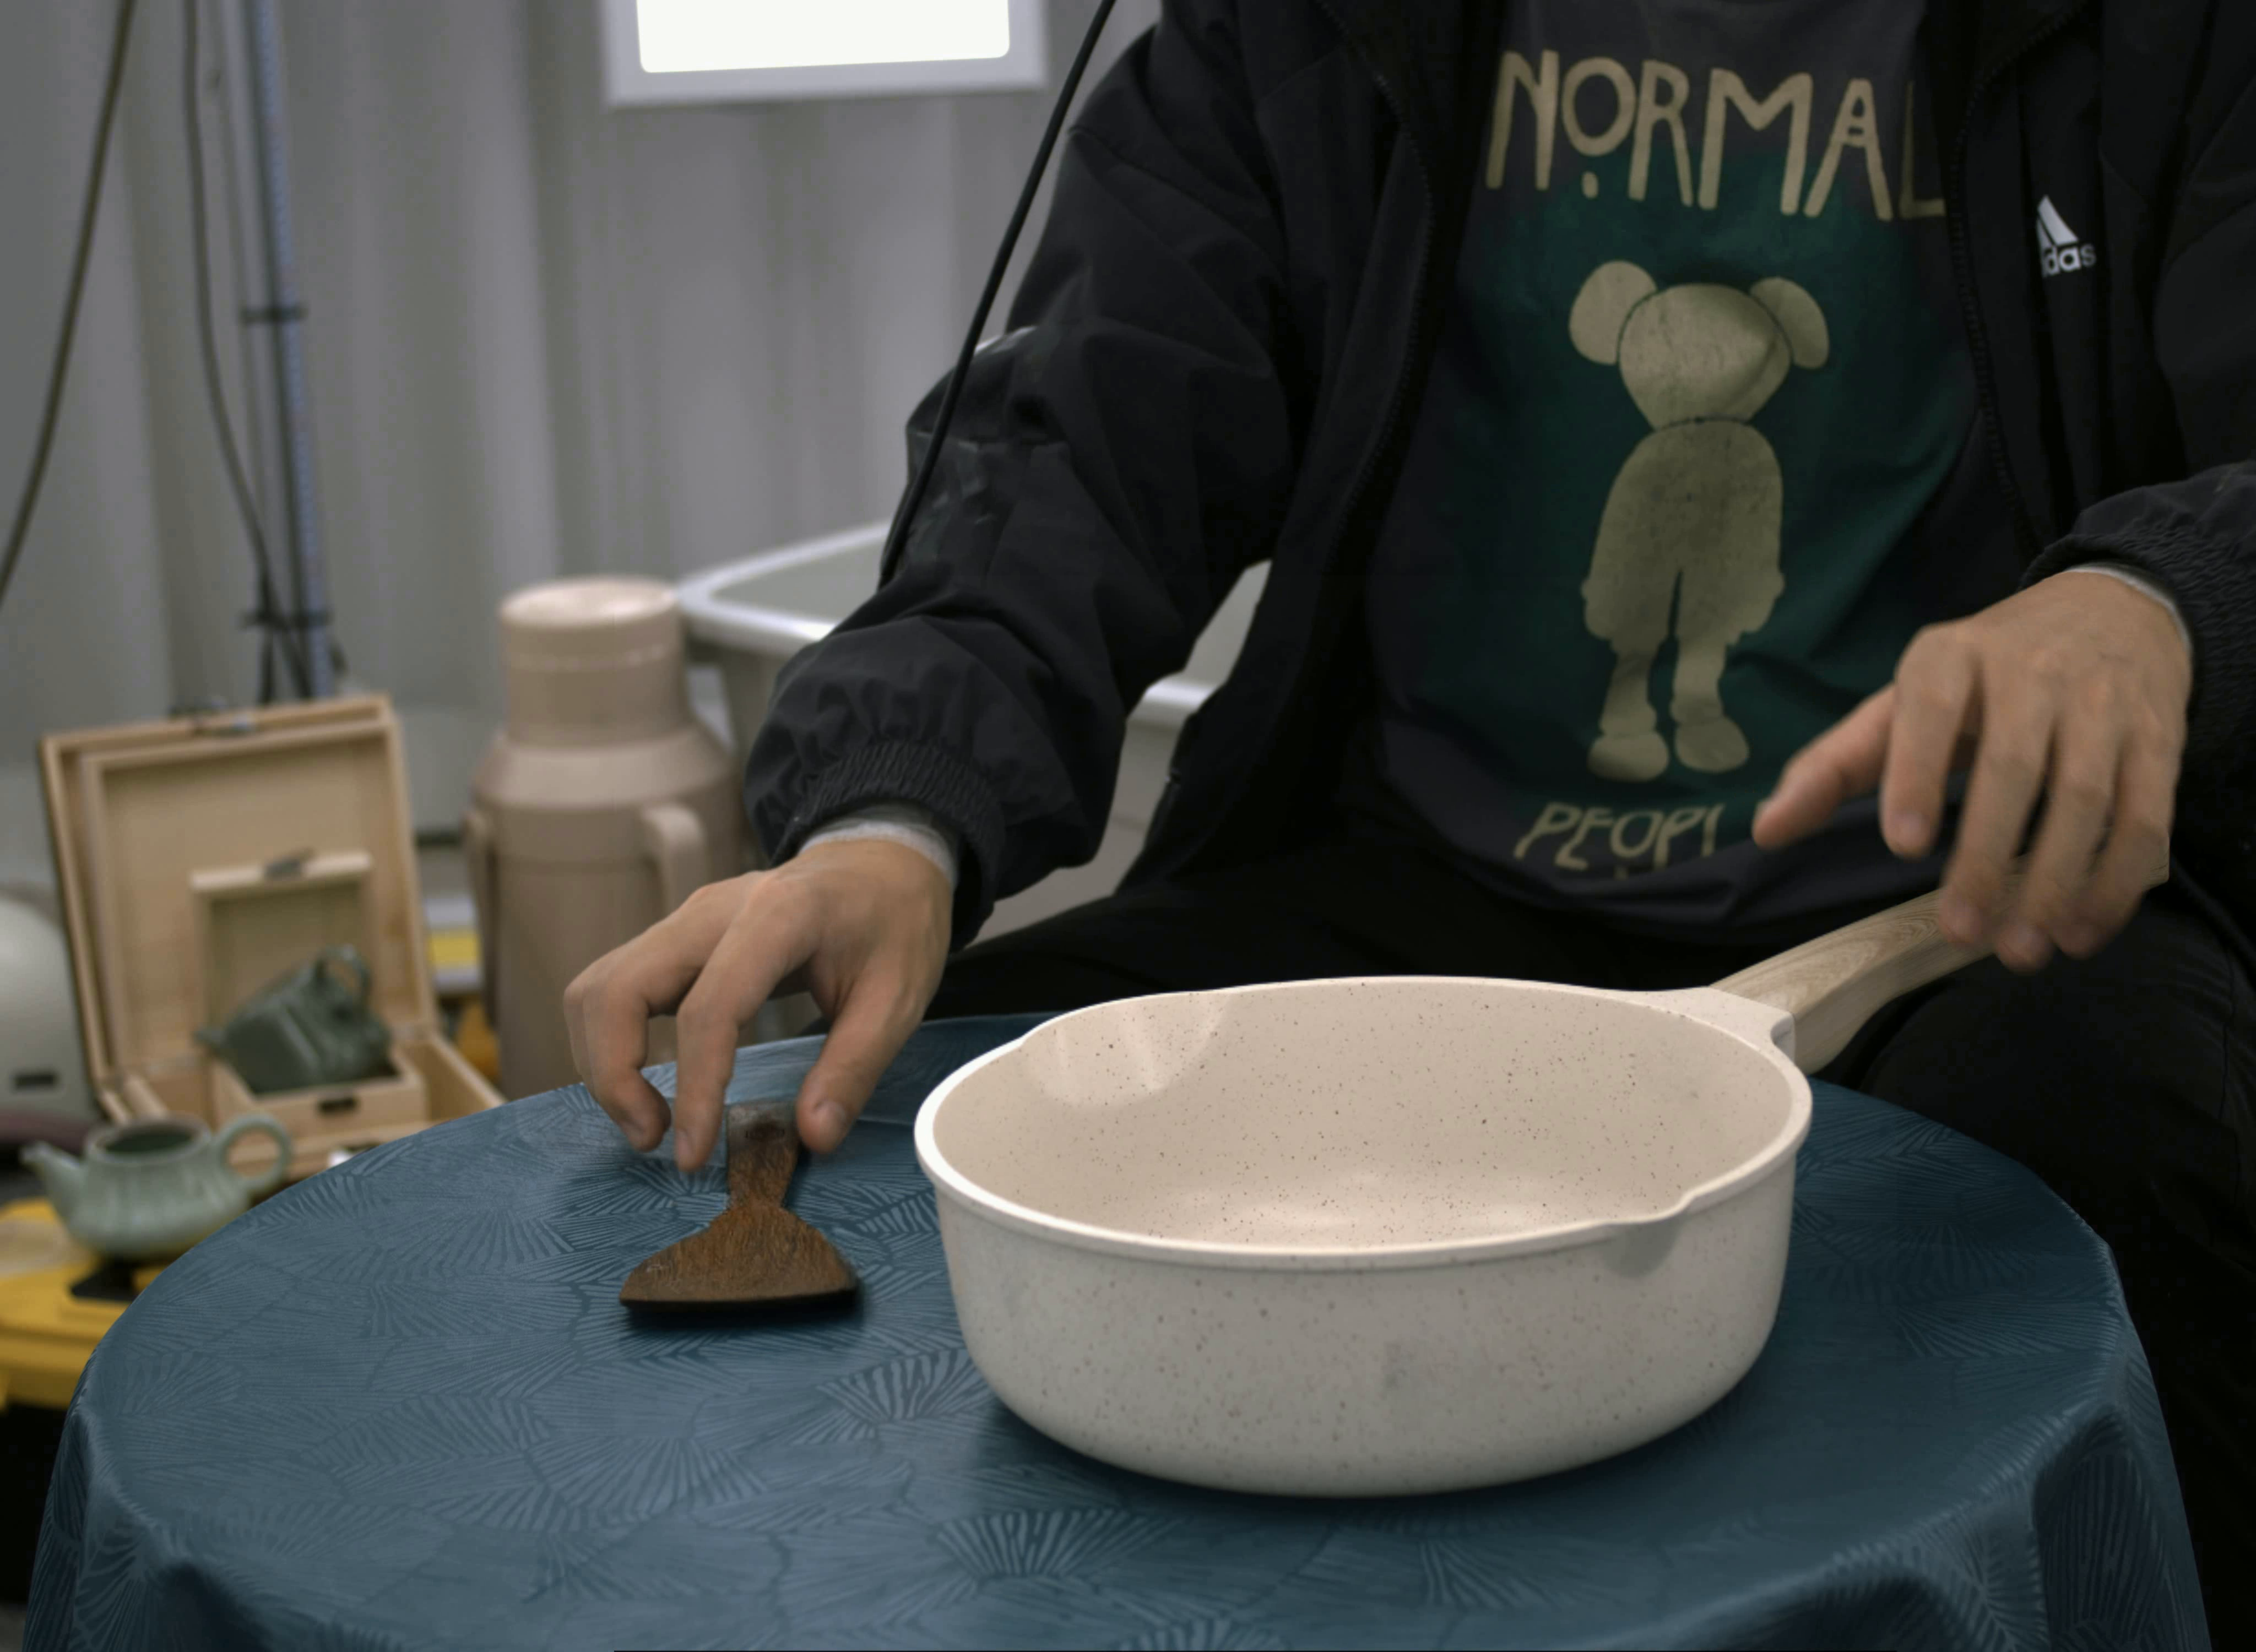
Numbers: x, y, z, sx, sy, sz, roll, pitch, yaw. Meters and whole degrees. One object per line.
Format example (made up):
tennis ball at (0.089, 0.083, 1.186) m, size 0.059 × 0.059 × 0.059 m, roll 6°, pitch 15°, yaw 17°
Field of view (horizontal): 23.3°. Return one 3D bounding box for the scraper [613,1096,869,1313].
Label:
scraper at (-0.116, 0.118, 1.709) m, size 0.075 × 0.011 × 0.212 m, roll -3°, pitch 14°, yaw 0°

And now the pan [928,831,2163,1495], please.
pan at (0.145, 0.092, 1.581) m, size 0.433 × 0.101 × 0.265 m, roll -13°, pitch 16°, yaw -34°
